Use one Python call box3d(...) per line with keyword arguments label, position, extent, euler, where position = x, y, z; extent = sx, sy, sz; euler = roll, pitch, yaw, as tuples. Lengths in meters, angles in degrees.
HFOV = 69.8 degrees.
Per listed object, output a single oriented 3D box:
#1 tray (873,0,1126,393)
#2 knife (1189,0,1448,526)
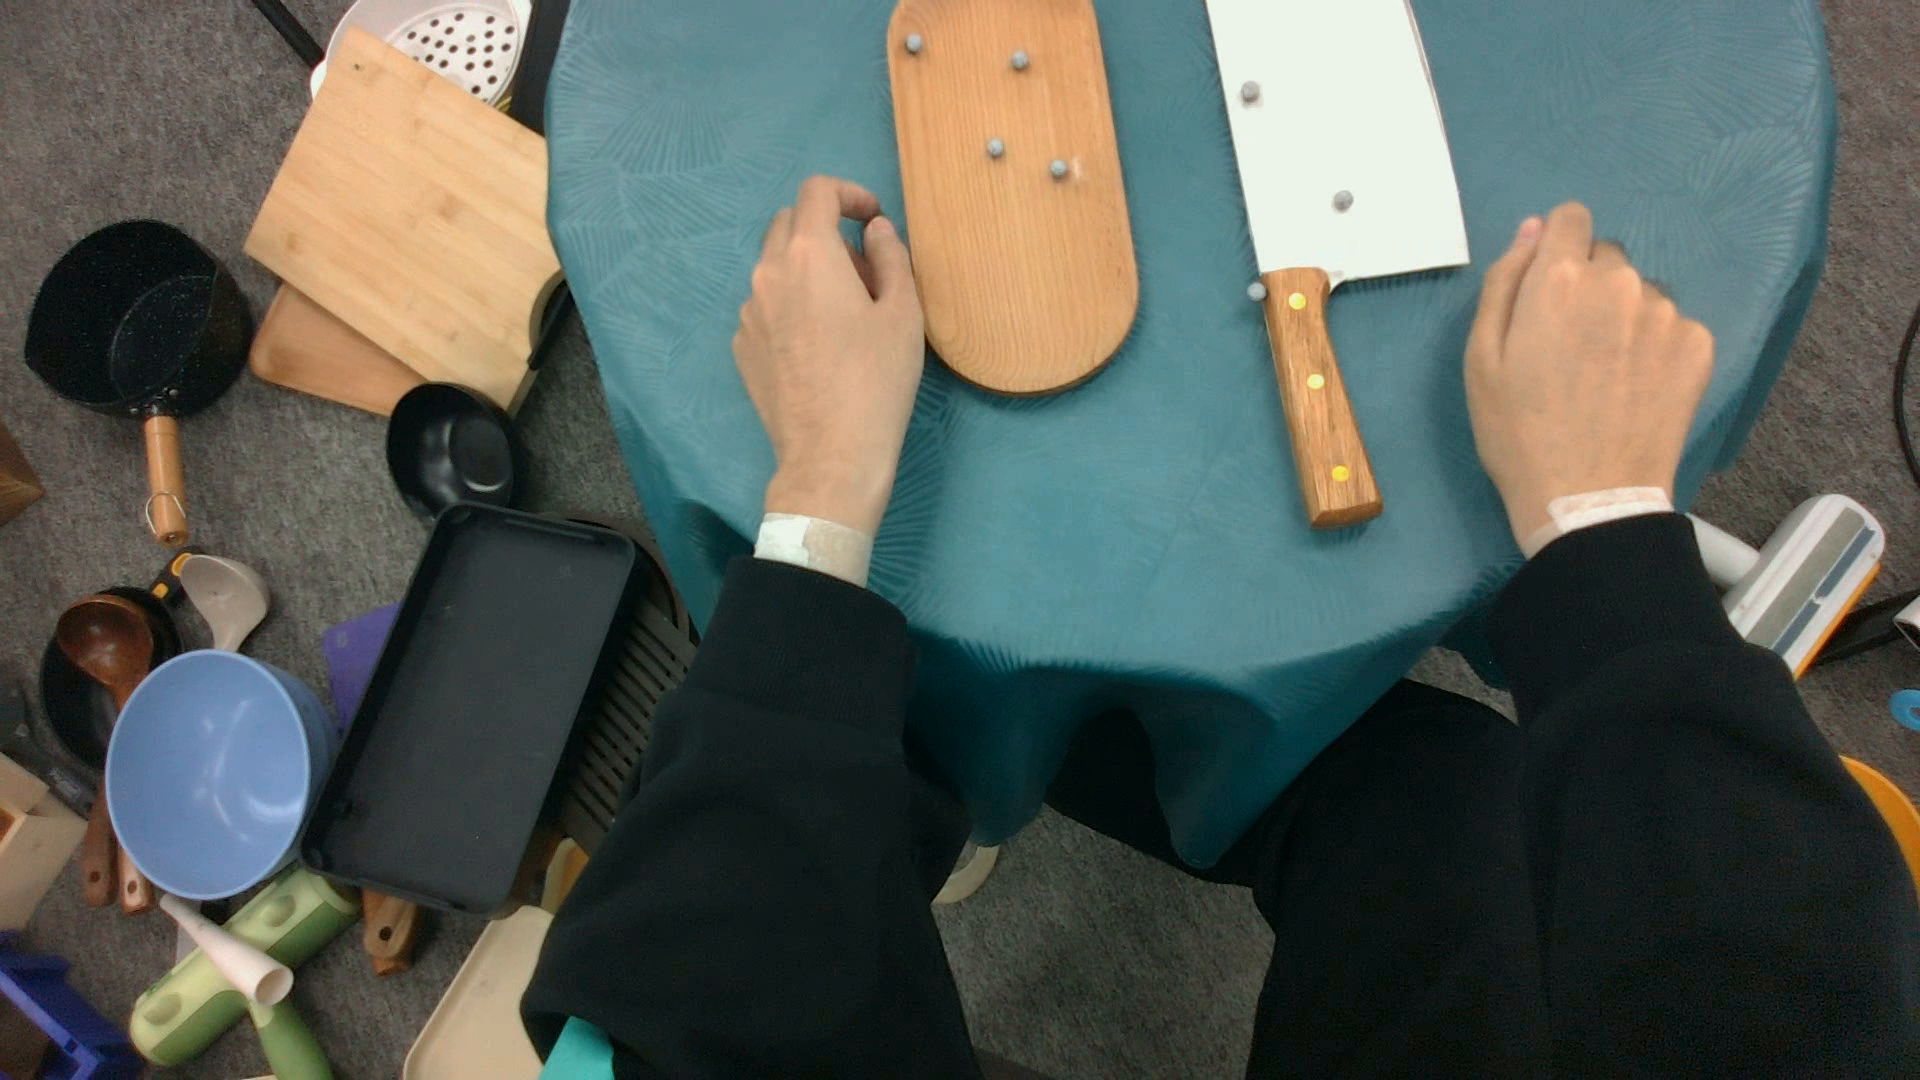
box3d(label="tray", position=(0.016, -0.175, 0.640), extent=(0.101, 0.020, 0.231), euler=(-8, 74, 5))
box3d(label="knife", position=(0.165, -0.155, 0.617), extent=(0.093, 0.021, 0.306), euler=(-8, 70, 3))
